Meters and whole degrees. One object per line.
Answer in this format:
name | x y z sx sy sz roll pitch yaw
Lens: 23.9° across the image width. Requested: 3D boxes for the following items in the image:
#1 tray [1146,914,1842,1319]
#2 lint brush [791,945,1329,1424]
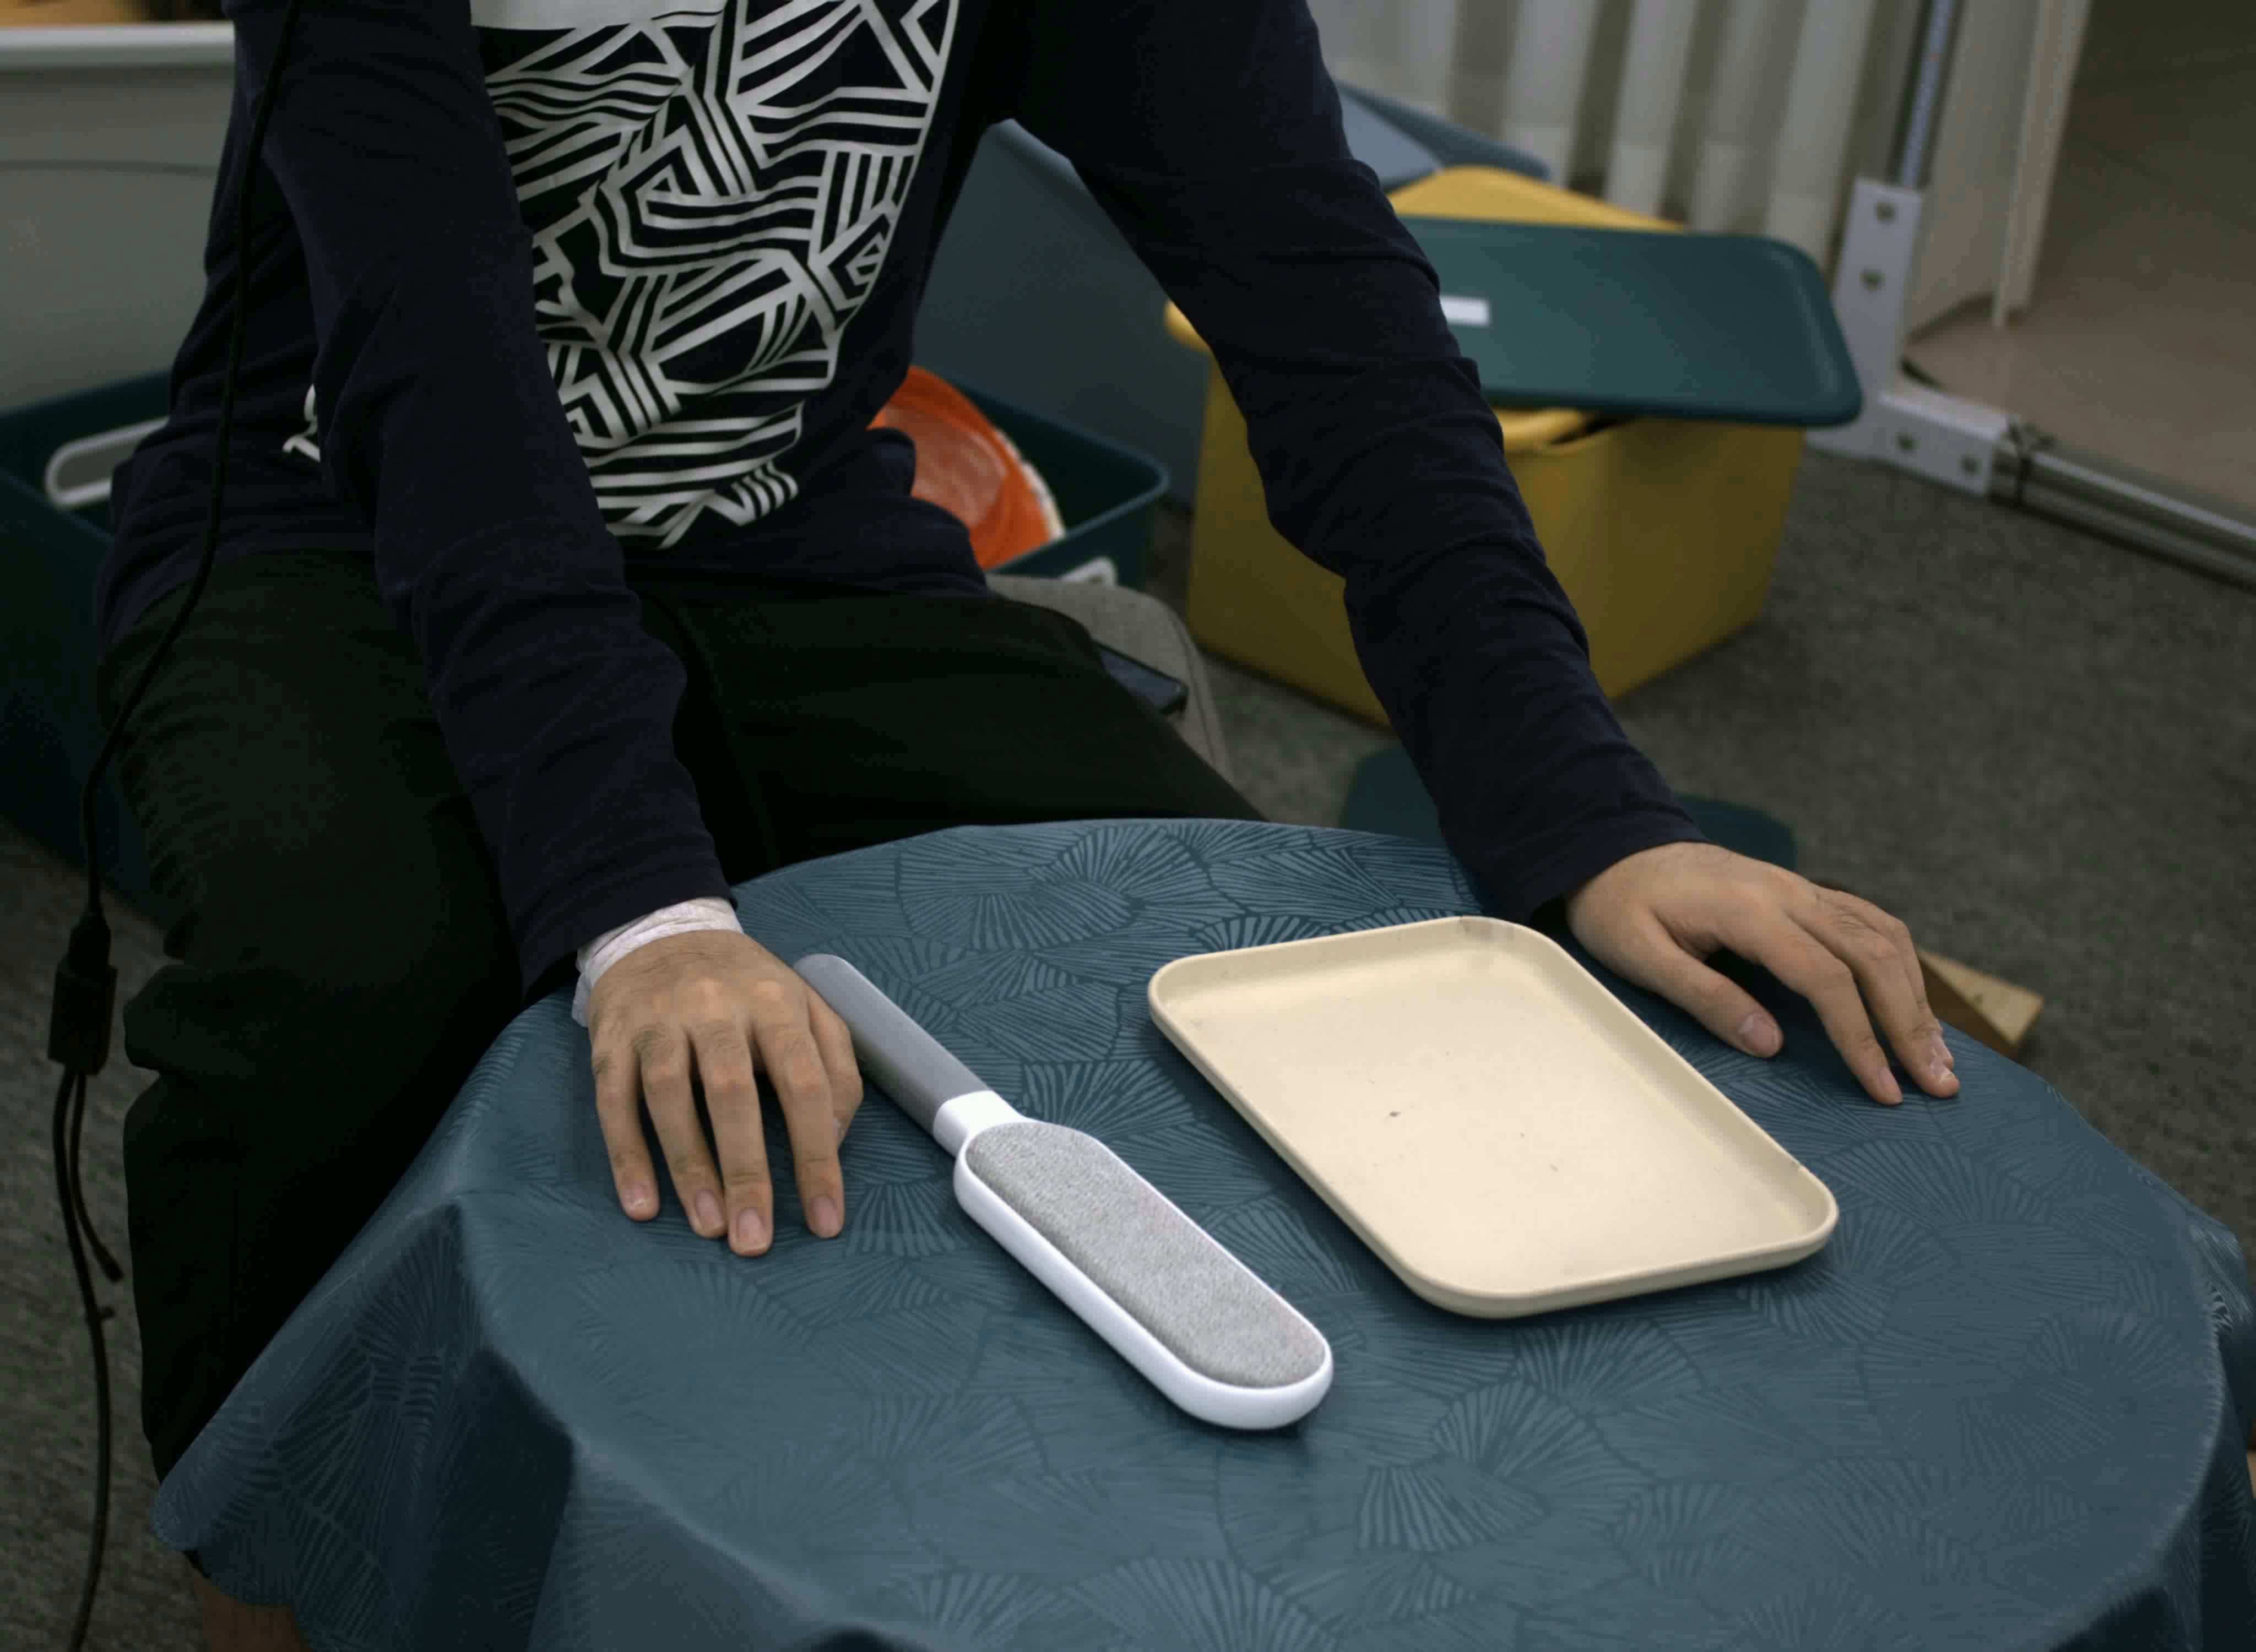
tray | 0.124 0.100 1.862 0.170 0.017 0.242 -9 30 -26
lint brush | -0.030 0.115 1.786 0.060 0.021 0.312 -16 34 -28
